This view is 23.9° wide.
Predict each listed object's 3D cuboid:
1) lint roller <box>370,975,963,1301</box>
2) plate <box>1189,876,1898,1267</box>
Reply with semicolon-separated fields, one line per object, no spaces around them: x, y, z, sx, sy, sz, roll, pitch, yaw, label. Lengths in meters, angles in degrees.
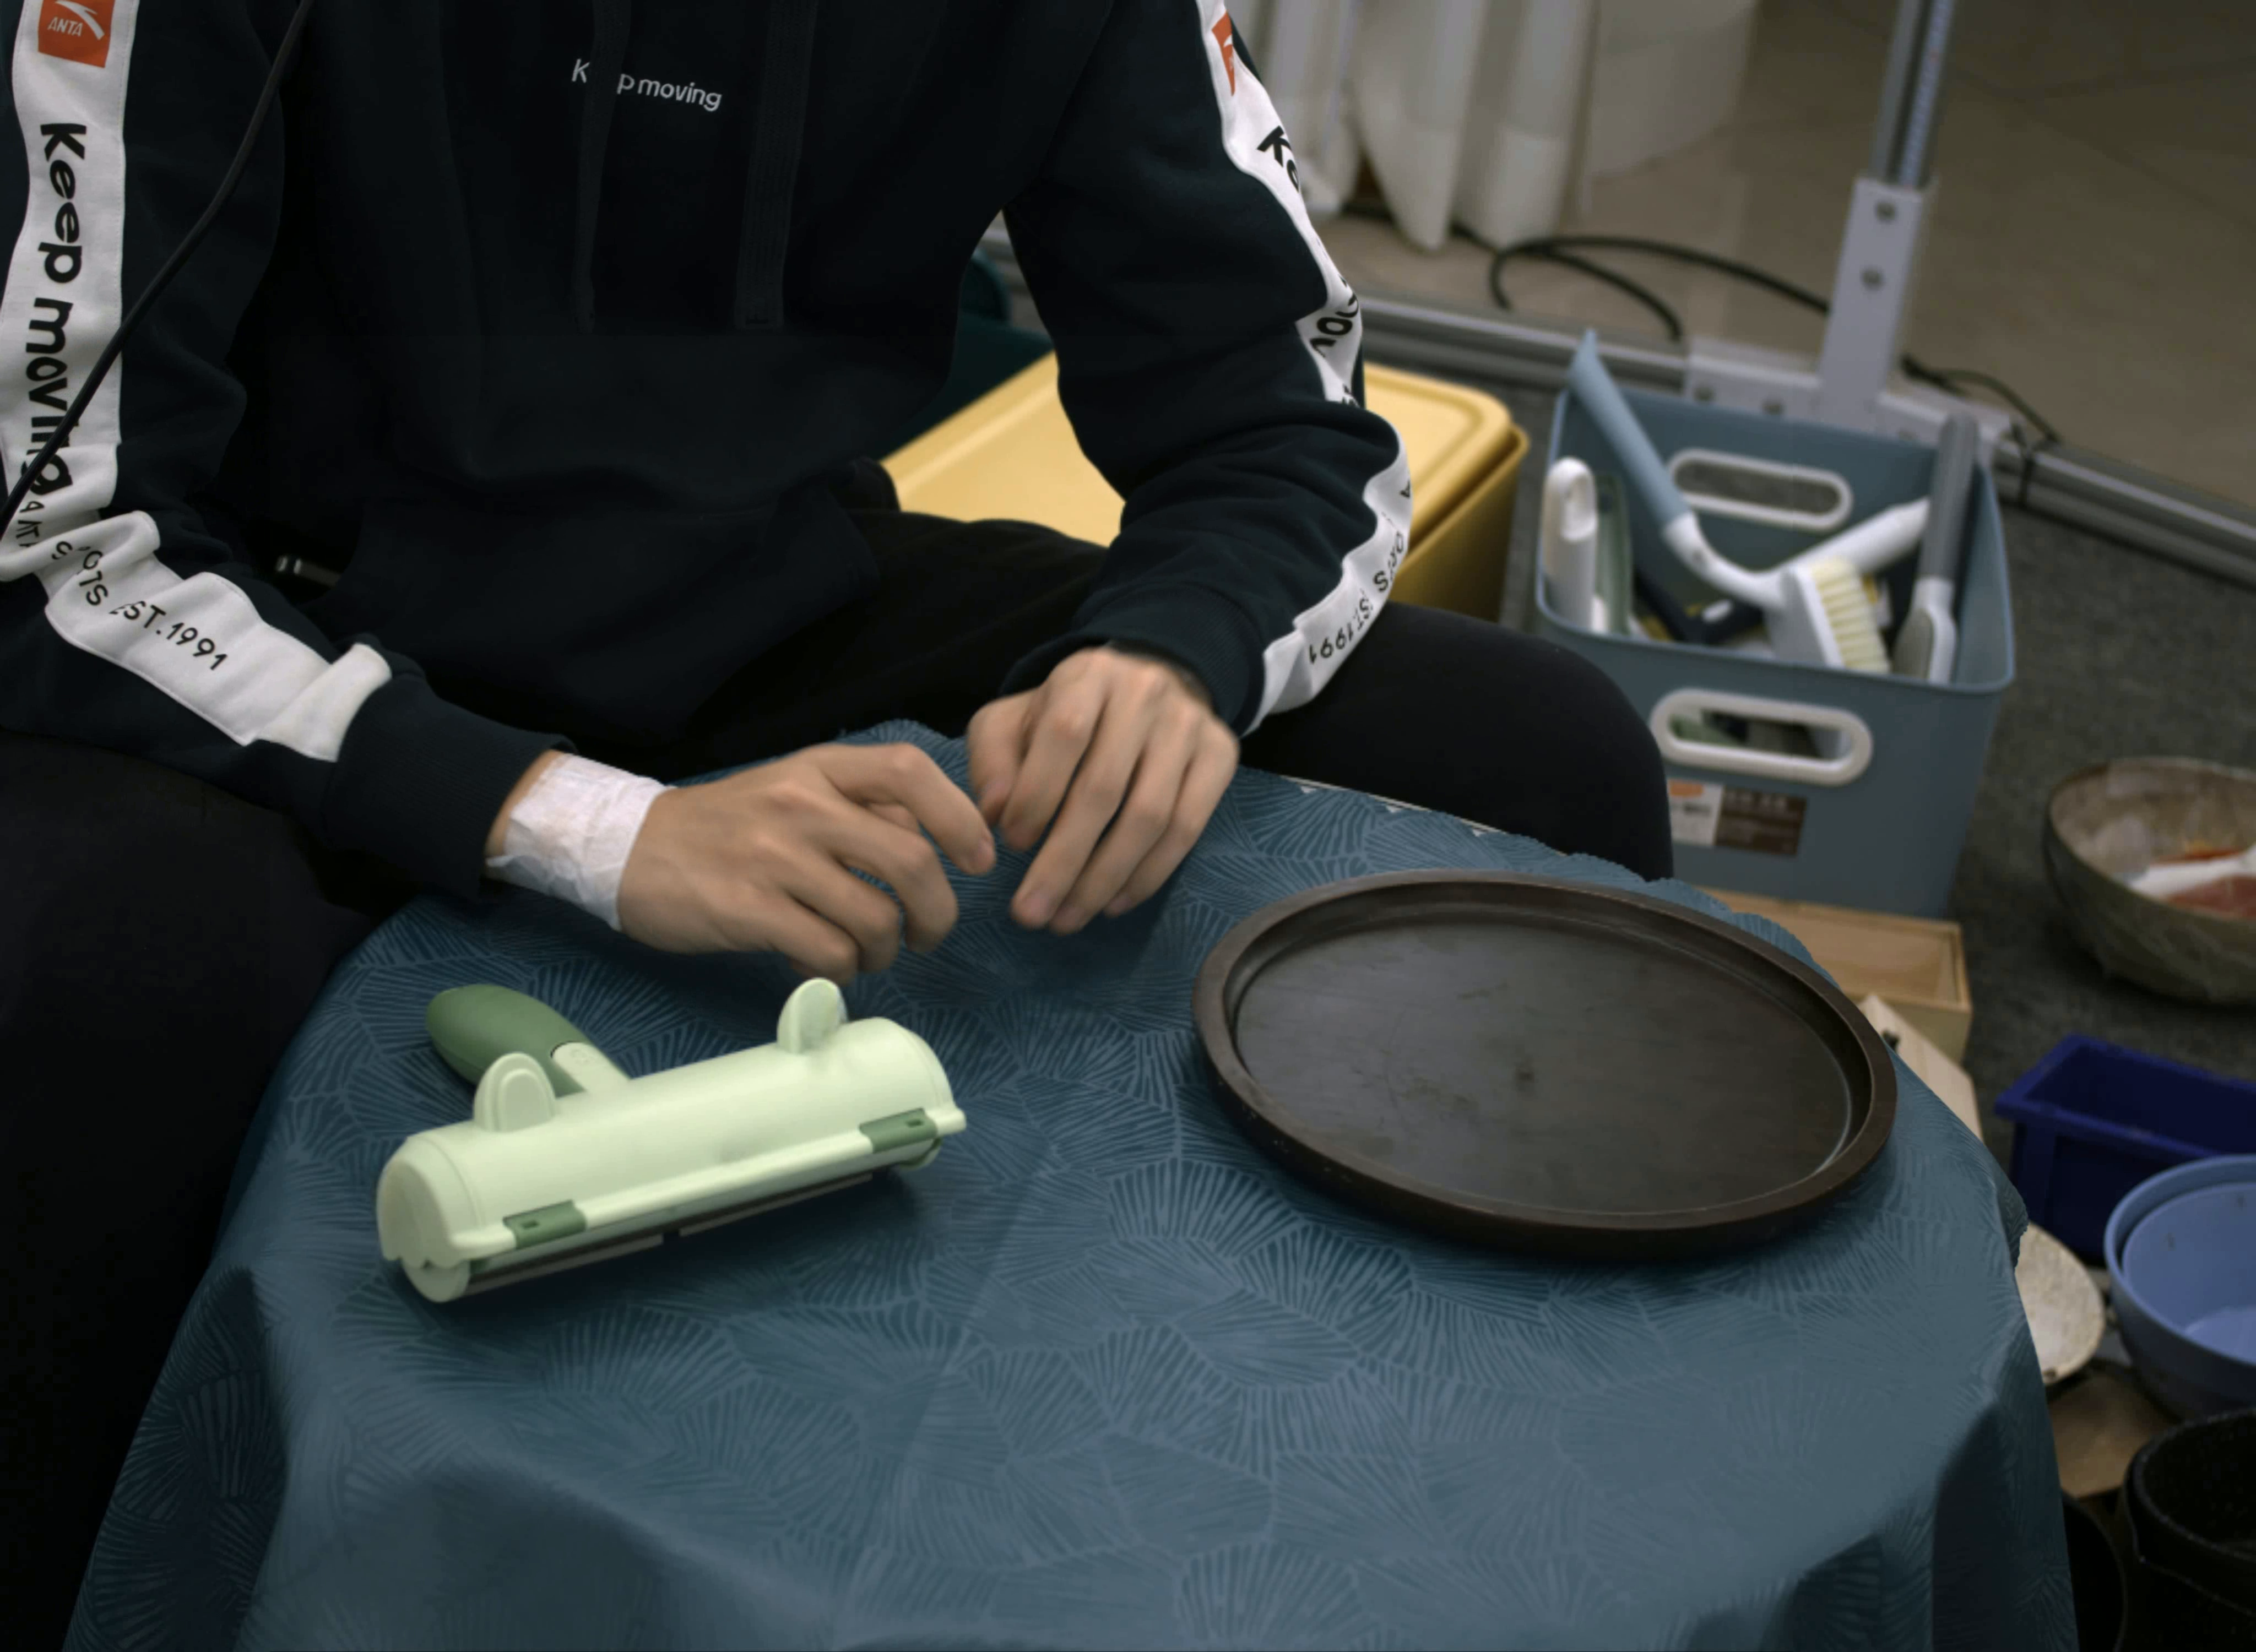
-0.181;0.075;1.766;0.197;0.082;0.185;-13;36;-34;lint roller
0.146;0.084;1.882;0.254;0.029;0.256;4;27;-2;plate
